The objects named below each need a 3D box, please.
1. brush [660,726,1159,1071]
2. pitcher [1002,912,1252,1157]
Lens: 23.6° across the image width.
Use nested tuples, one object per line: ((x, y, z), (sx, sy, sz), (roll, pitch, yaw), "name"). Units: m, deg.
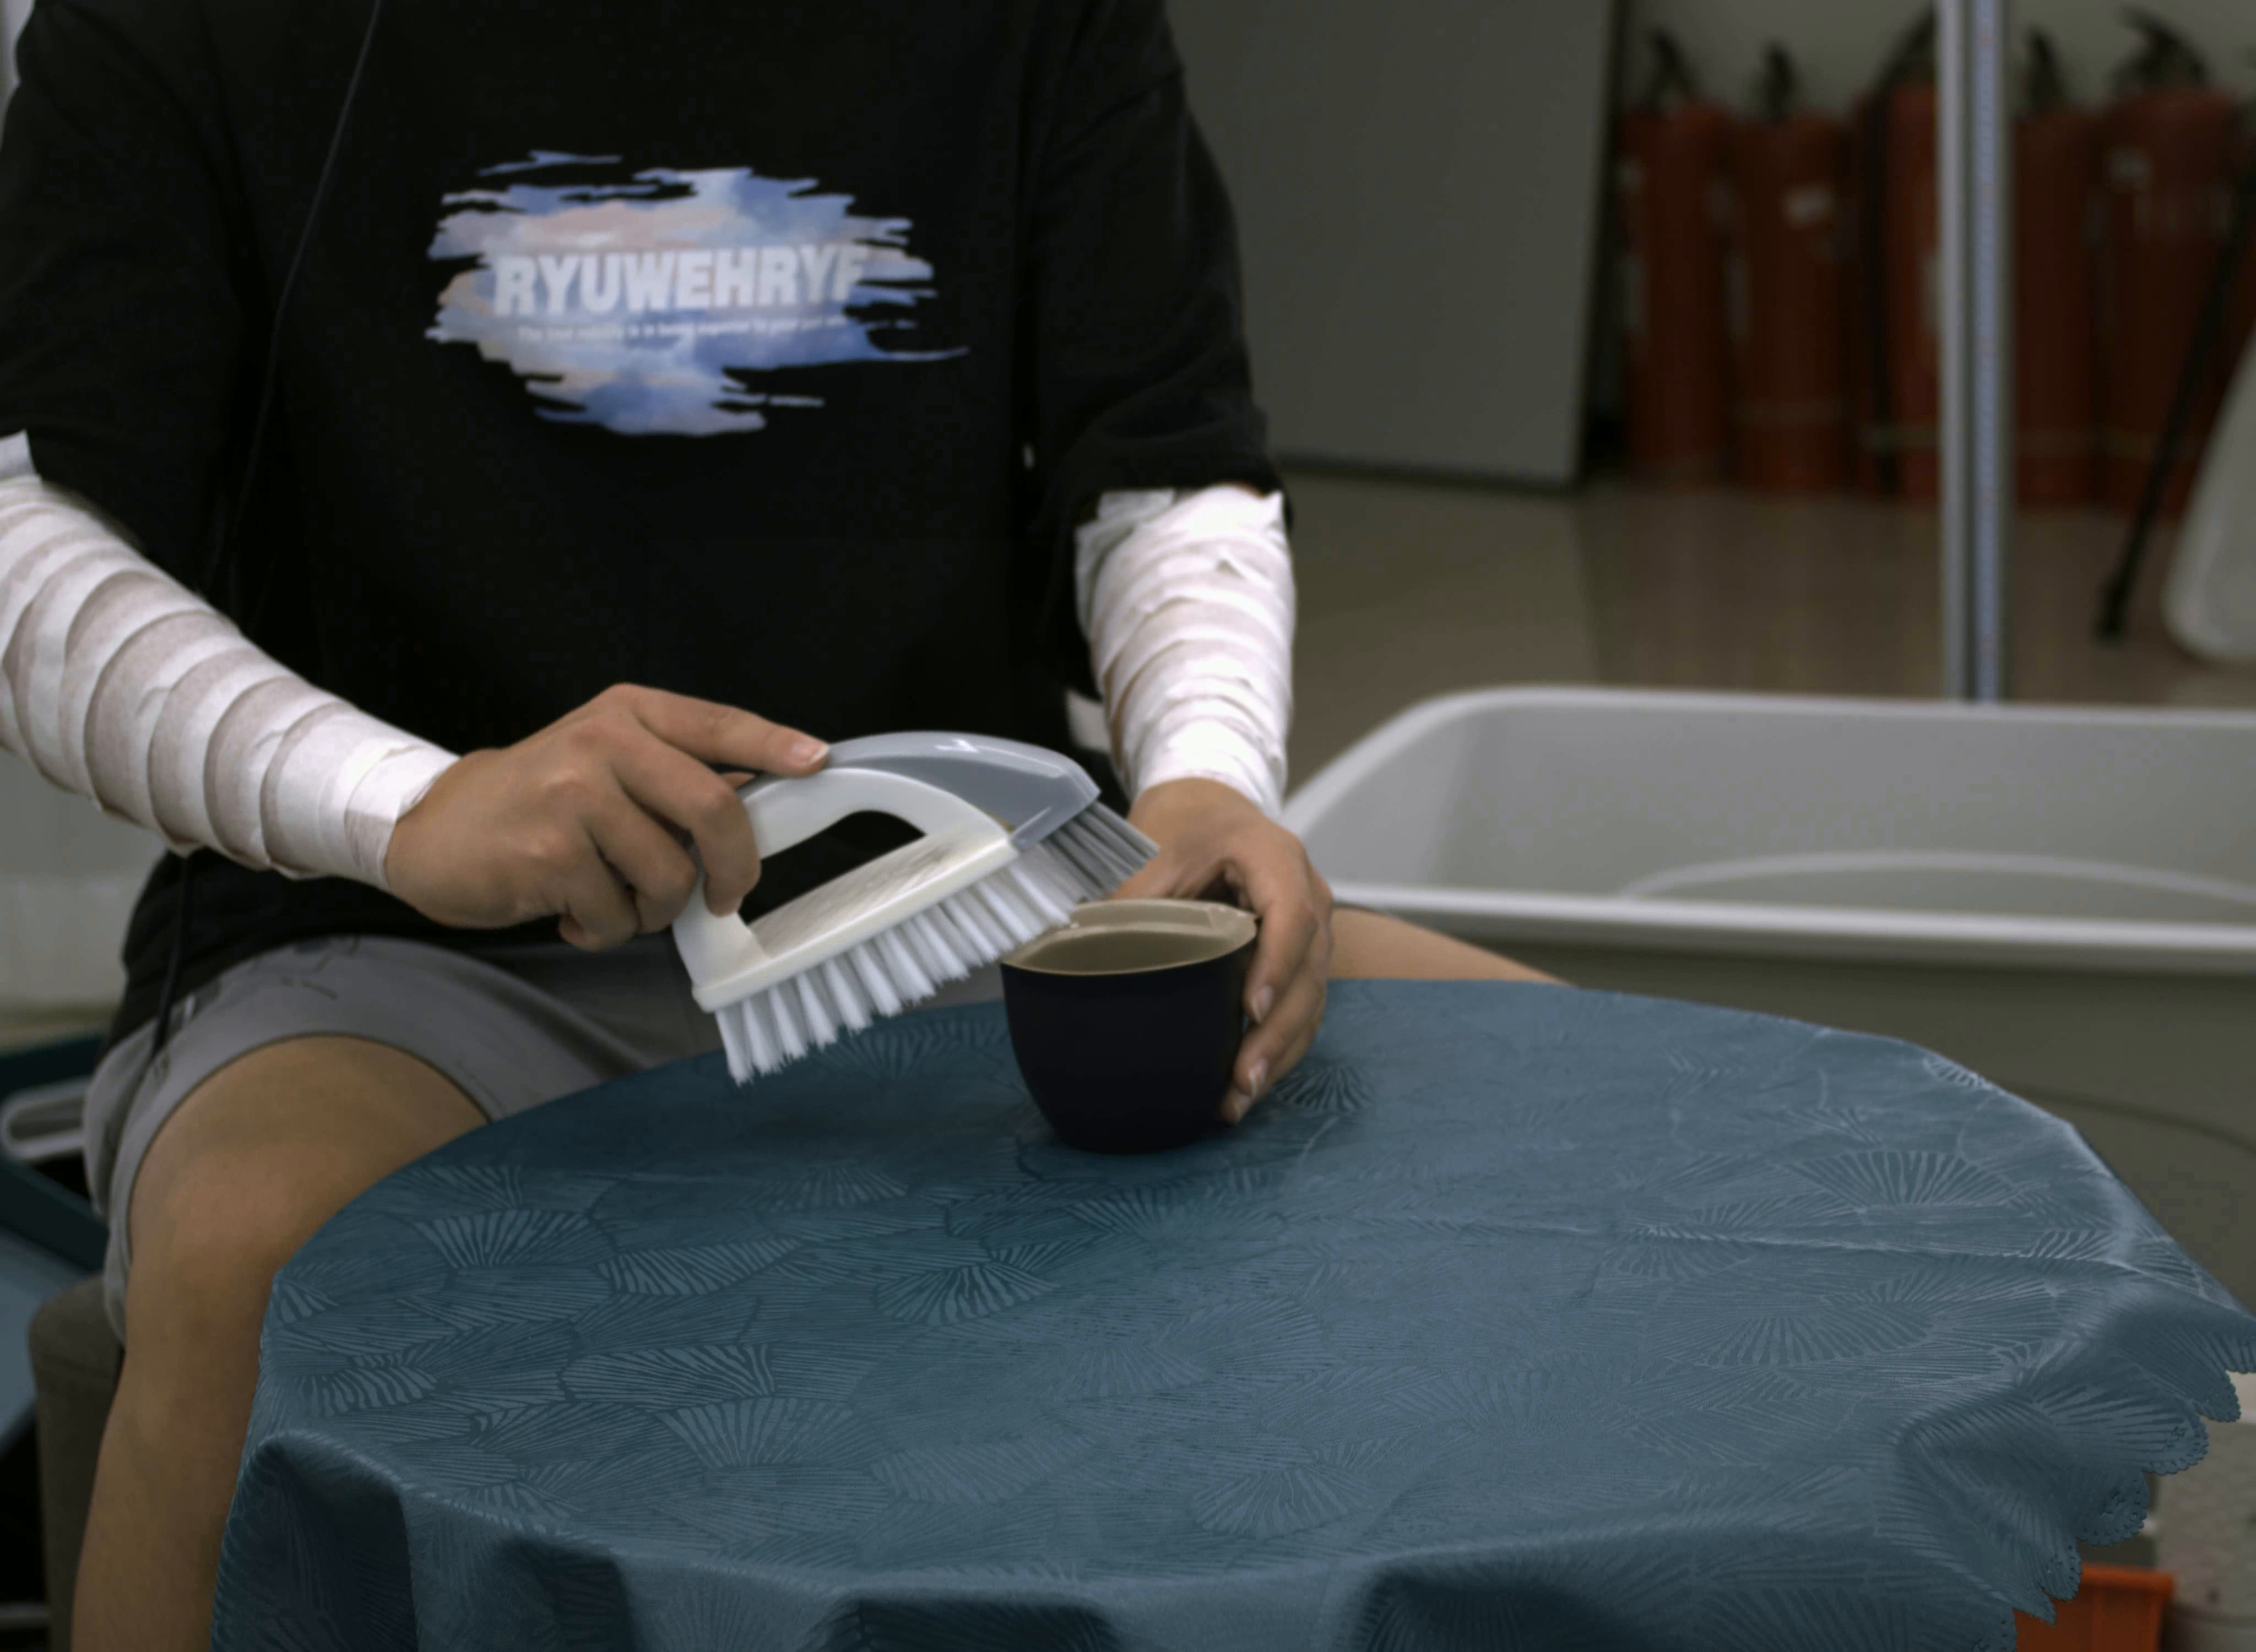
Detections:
((-0.081, 0.009, 1.822), (0.176, 0.094, 0.061), (-24, 20, 27), "brush")
((0.003, 0.071, 1.826), (0.094, 0.072, 0.084), (-9, 12, -31), "pitcher")
